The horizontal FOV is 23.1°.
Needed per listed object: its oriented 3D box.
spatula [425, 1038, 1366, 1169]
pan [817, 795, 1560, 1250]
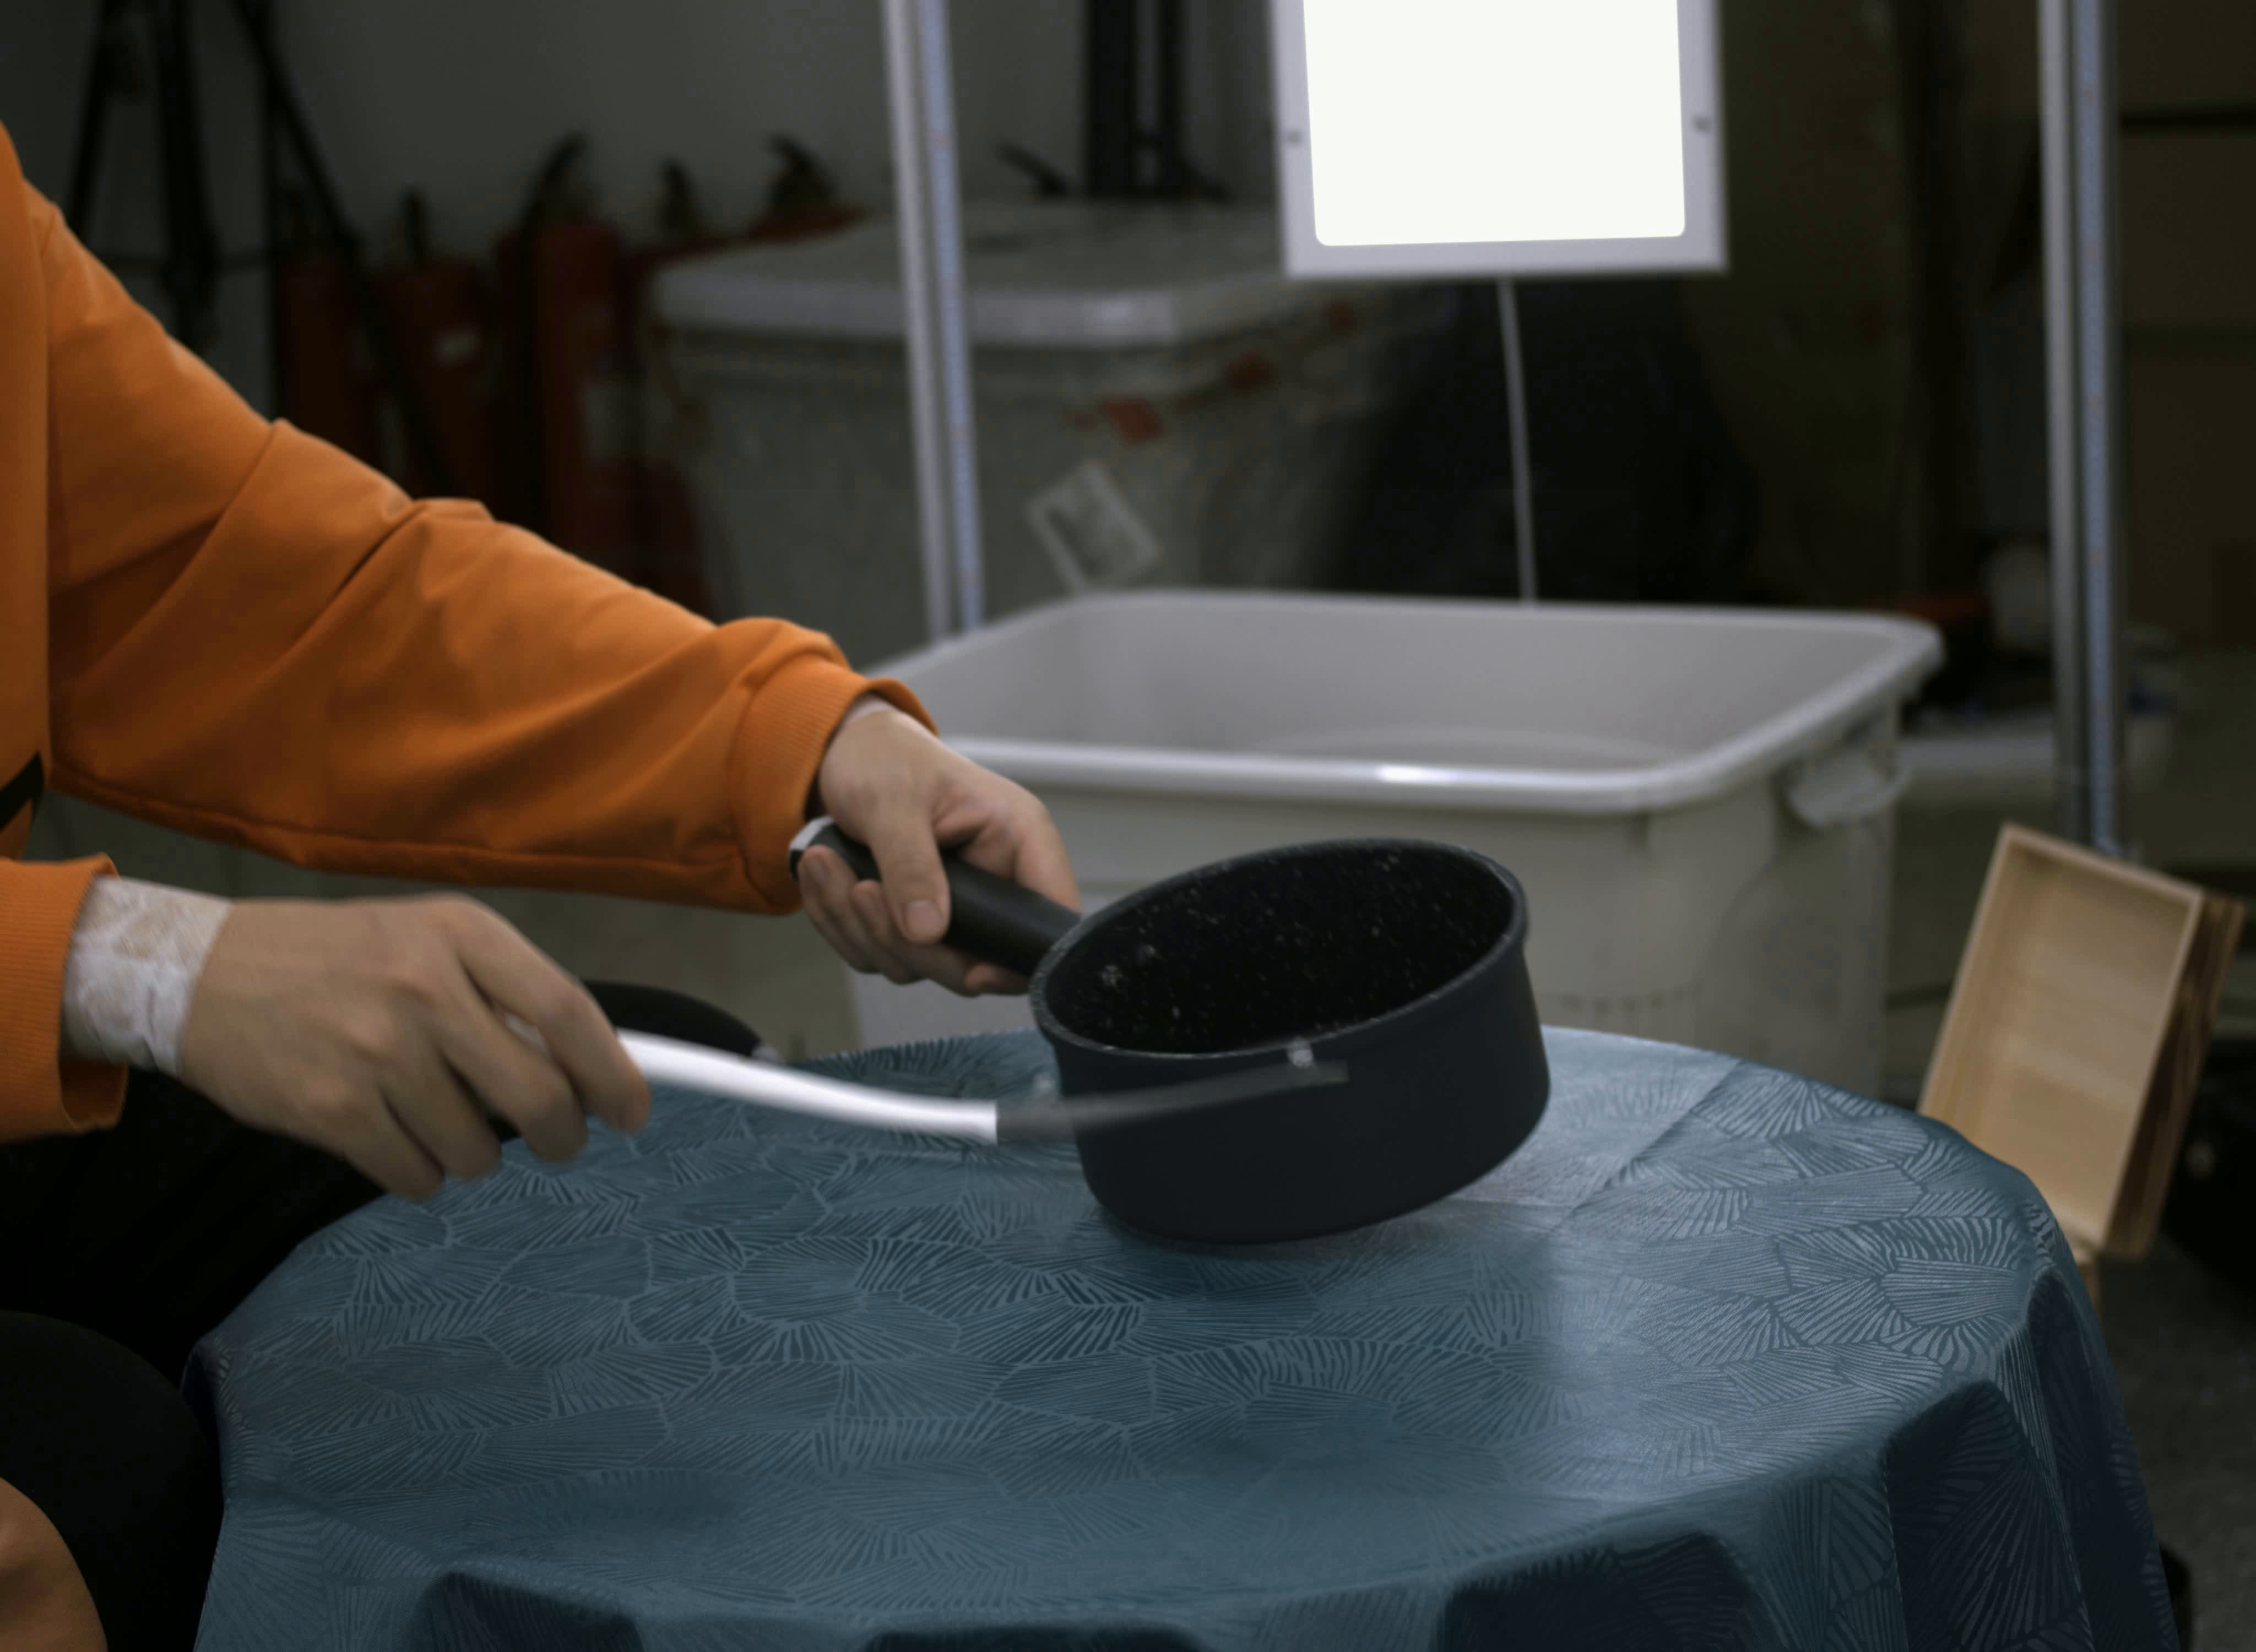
[{"bbox_3d":[-0.071,0.086,1.675,0.289,0.032,0.058,2,-4,11],"label":"spatula"},{"bbox_3d":[0.008,0.059,1.924,0.168,0.086,0.335,-26,26,-34],"label":"pan"}]
